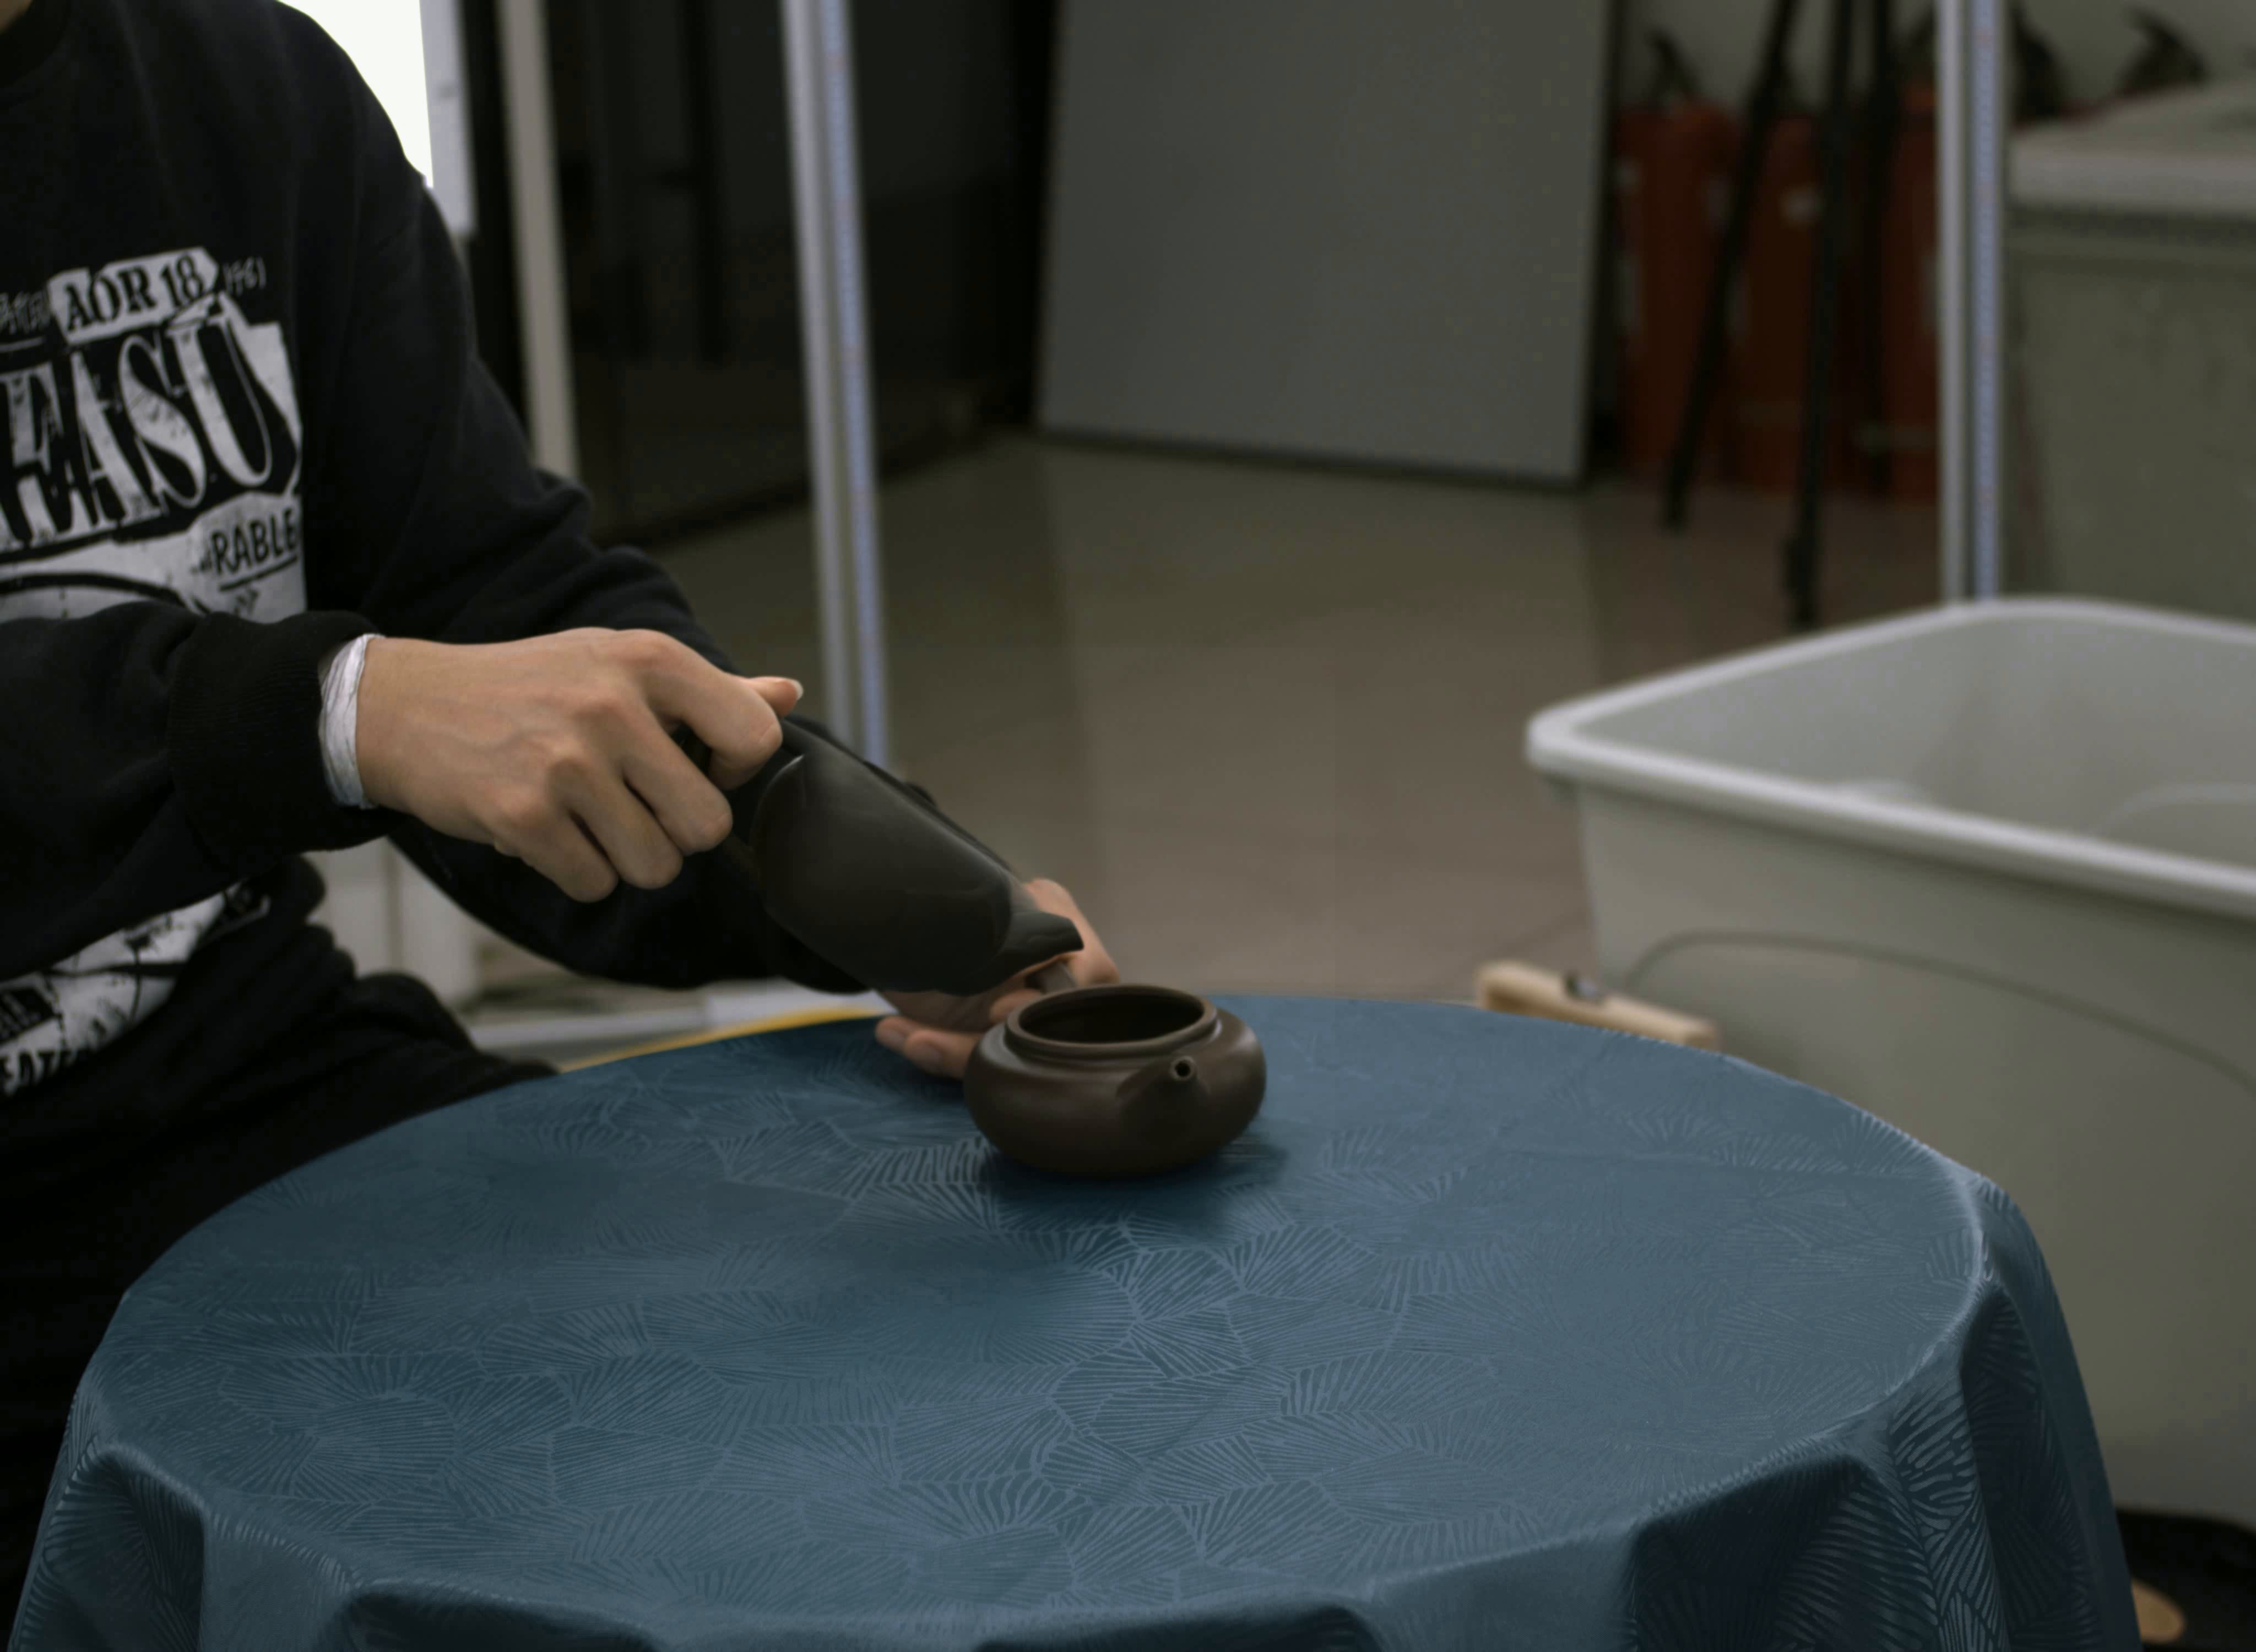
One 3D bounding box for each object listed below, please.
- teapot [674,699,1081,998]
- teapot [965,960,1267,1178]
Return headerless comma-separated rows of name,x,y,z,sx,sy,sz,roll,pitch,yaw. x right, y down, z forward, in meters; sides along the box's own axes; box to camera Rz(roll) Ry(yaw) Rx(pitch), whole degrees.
teapot,-0.083,0.013,1.750,0.152,0.064,0.093,36,-1,-19
teapot,-0.006,0.082,1.812,0.100,0.054,0.155,-8,17,-23
